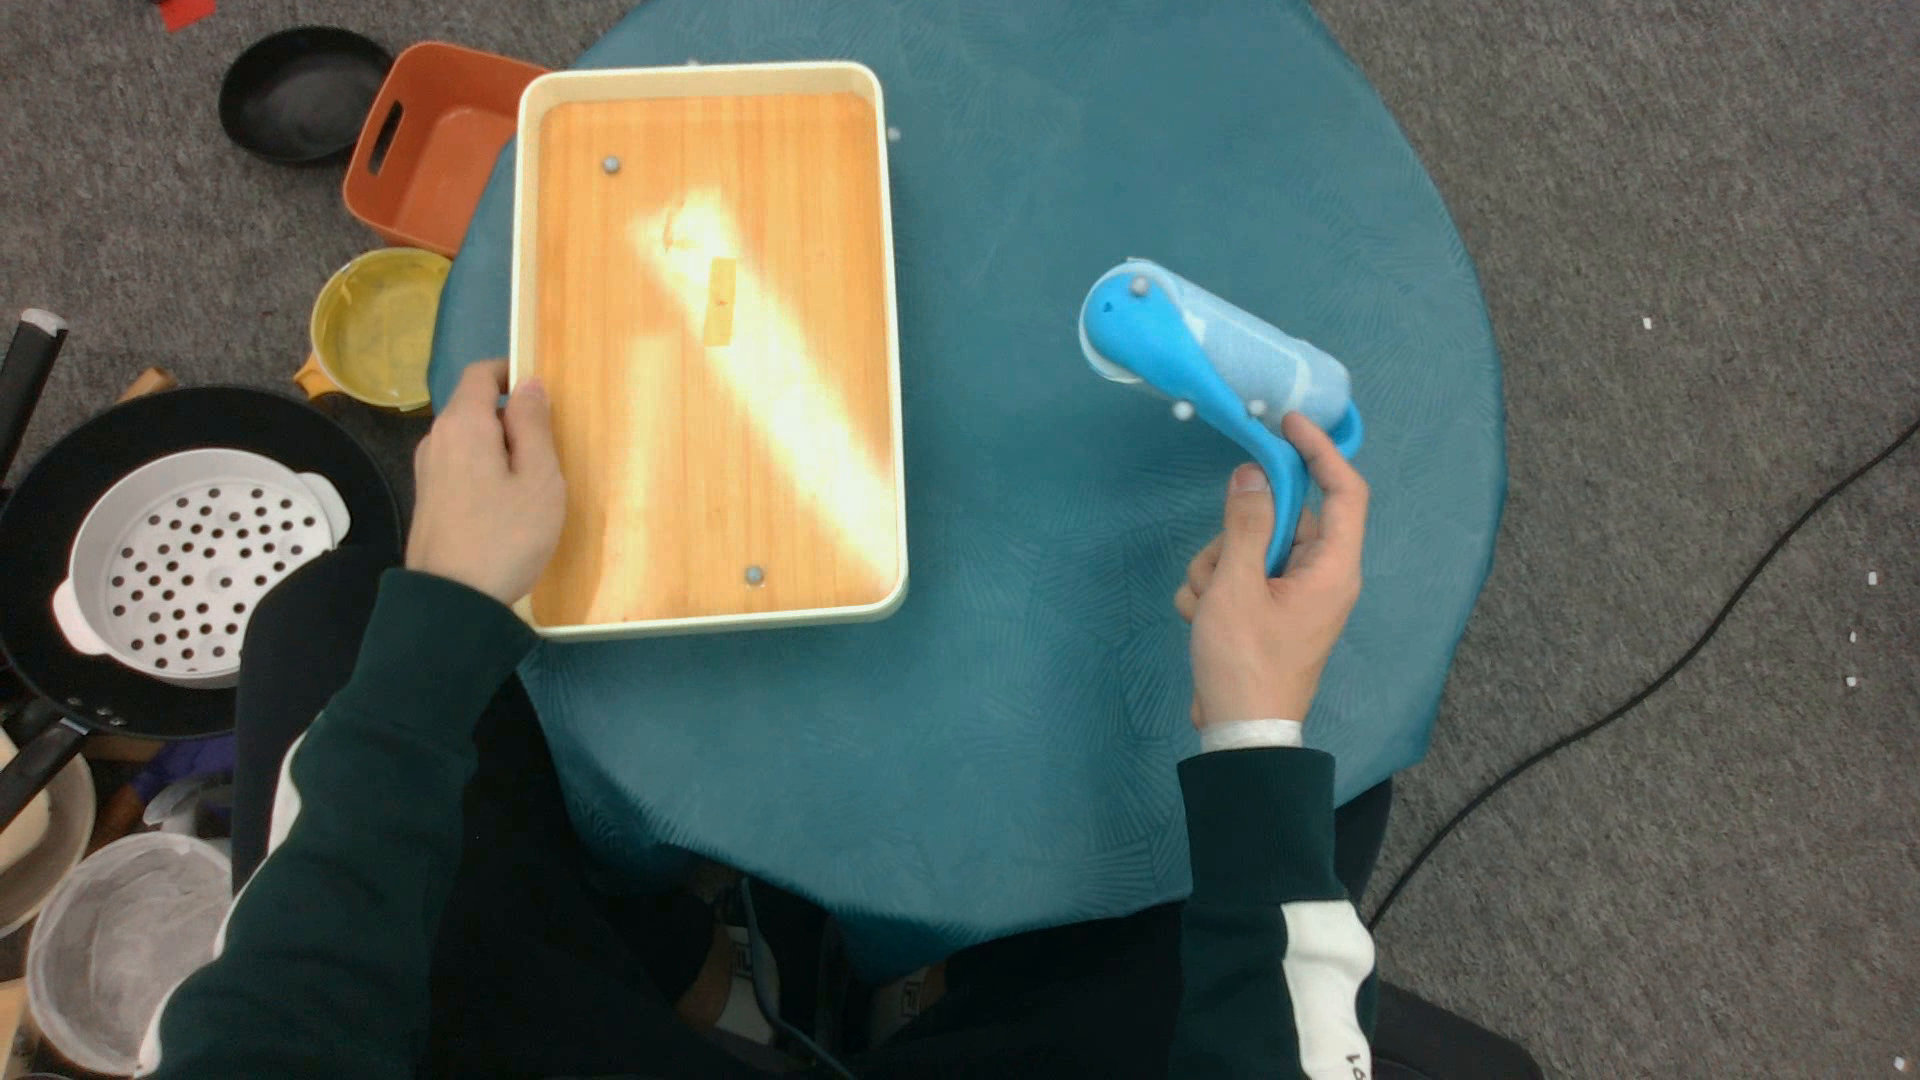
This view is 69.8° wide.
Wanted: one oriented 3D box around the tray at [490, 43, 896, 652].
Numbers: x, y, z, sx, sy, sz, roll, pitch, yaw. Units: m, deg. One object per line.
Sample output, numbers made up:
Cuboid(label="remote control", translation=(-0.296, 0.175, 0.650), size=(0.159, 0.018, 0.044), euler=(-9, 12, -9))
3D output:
Cuboid(label="tray", translation=(-0.136, -0.101, 0.685), size=(0.191, 0.027, 0.301), euler=(-6, 75, 3))

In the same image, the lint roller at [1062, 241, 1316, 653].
Cuboid(label="lint roller", translation=(0.121, -0.039, 0.653), size=(0.068, 0.229, 0.180), euler=(-9, 88, 27))
